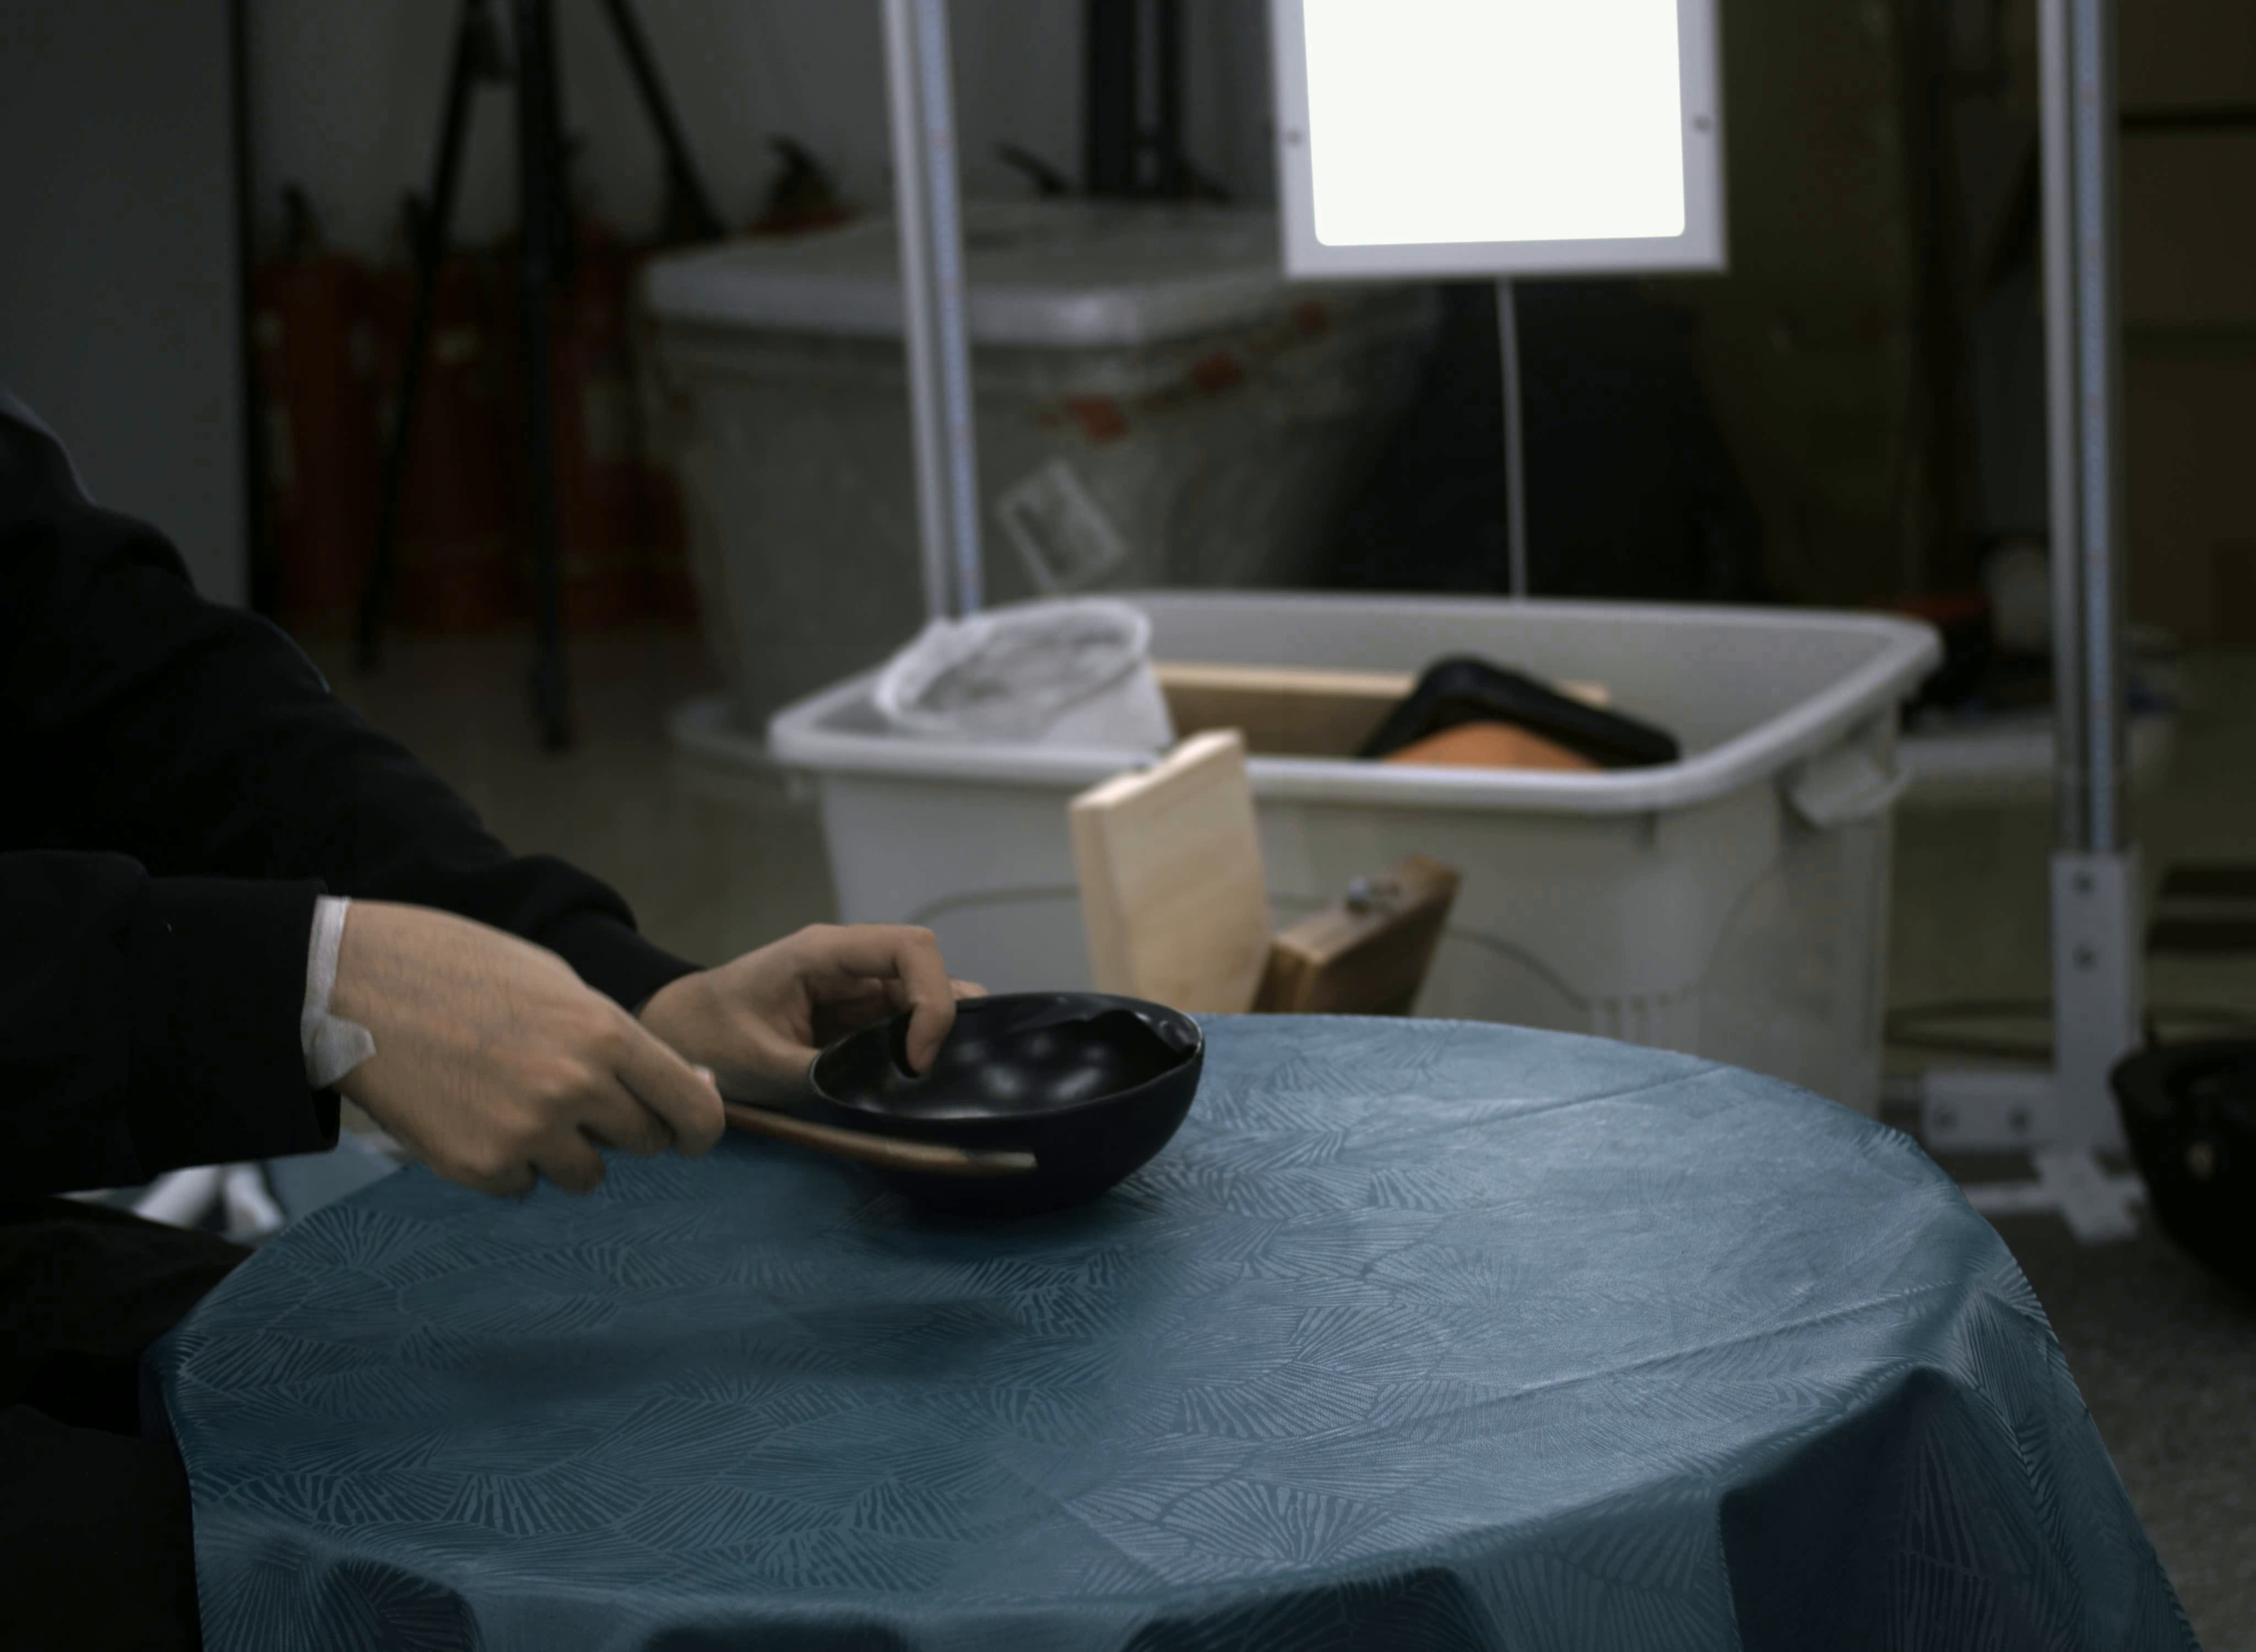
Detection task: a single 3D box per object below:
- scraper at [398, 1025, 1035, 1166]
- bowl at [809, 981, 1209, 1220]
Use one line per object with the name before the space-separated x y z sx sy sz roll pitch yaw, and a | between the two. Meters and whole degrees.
scraper | -0.134 0.088 1.780 0.212 0.011 0.075 12 -1 9
bowl | -0.039 0.100 1.908 0.140 0.050 0.140 -5 19 0
